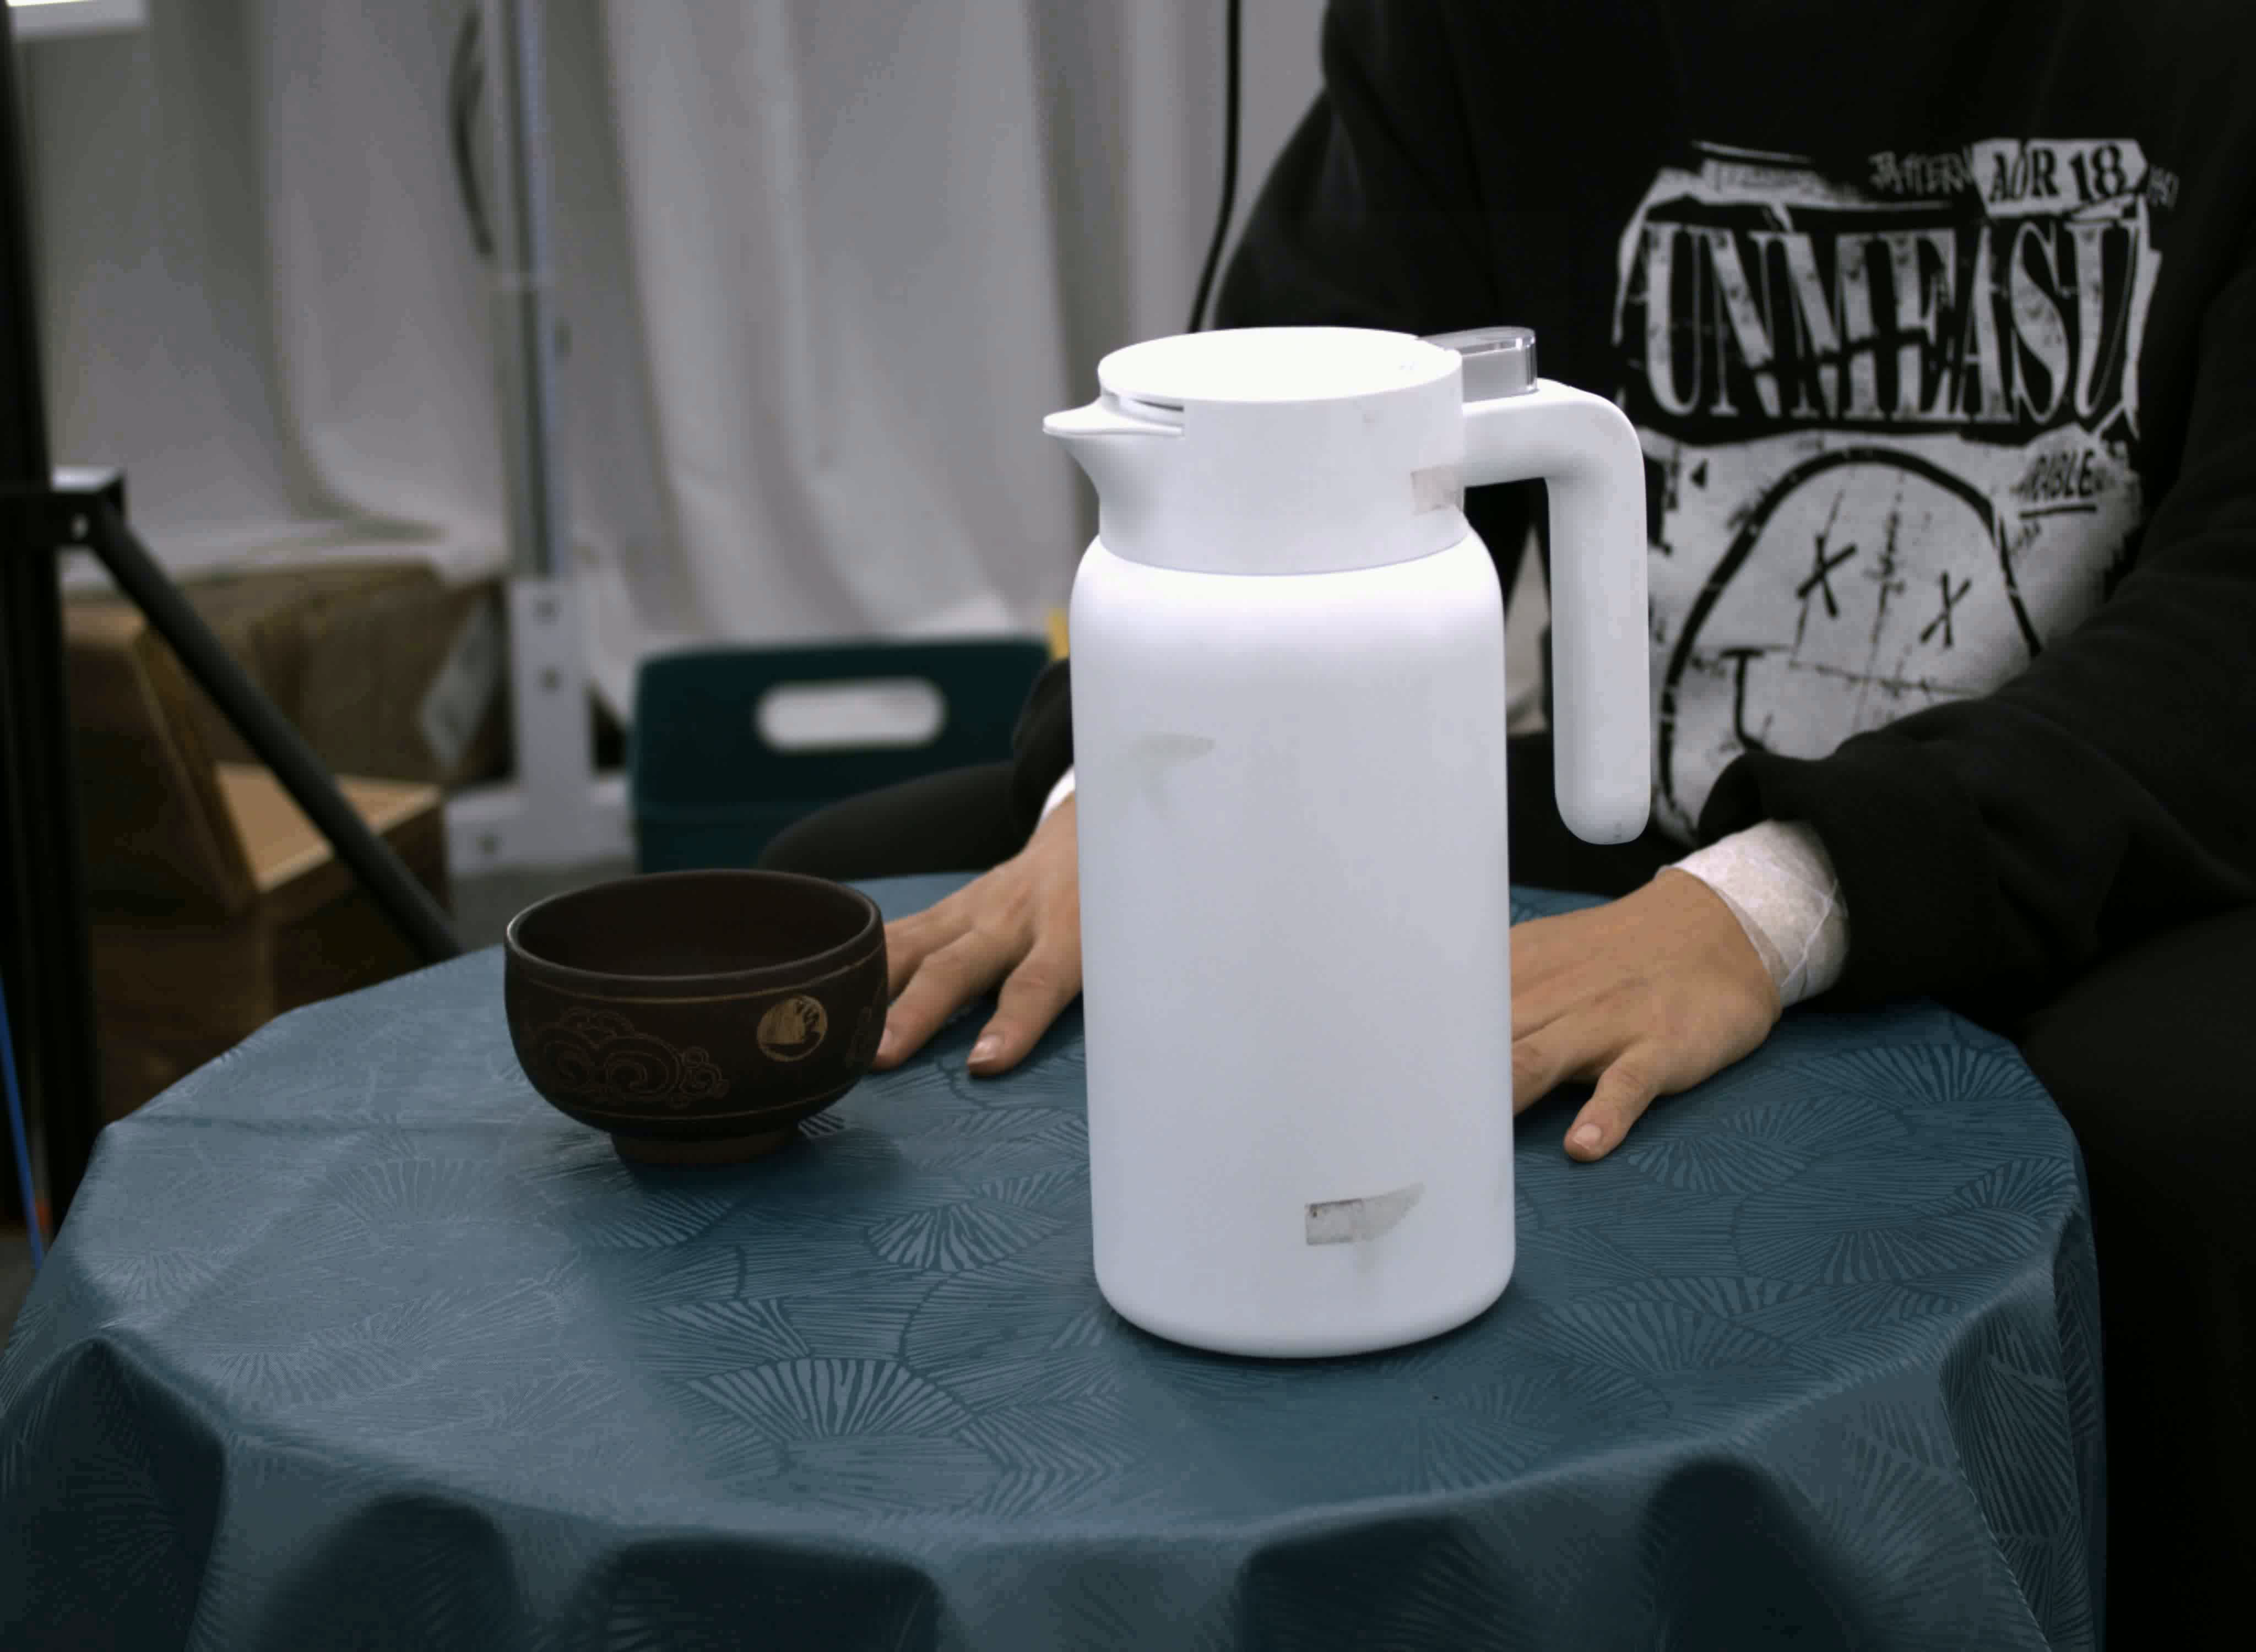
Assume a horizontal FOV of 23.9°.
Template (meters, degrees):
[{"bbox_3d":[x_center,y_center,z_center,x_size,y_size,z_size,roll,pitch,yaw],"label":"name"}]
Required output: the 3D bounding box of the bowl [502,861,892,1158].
[{"bbox_3d":[-0.129,0.059,1.613,0.117,0.070,0.118,-2,15,-1],"label":"bowl"}]

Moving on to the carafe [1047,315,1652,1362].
[{"bbox_3d":[0.061,0.000,1.439,0.169,0.269,0.126,-9,14,-23],"label":"carafe"}]
